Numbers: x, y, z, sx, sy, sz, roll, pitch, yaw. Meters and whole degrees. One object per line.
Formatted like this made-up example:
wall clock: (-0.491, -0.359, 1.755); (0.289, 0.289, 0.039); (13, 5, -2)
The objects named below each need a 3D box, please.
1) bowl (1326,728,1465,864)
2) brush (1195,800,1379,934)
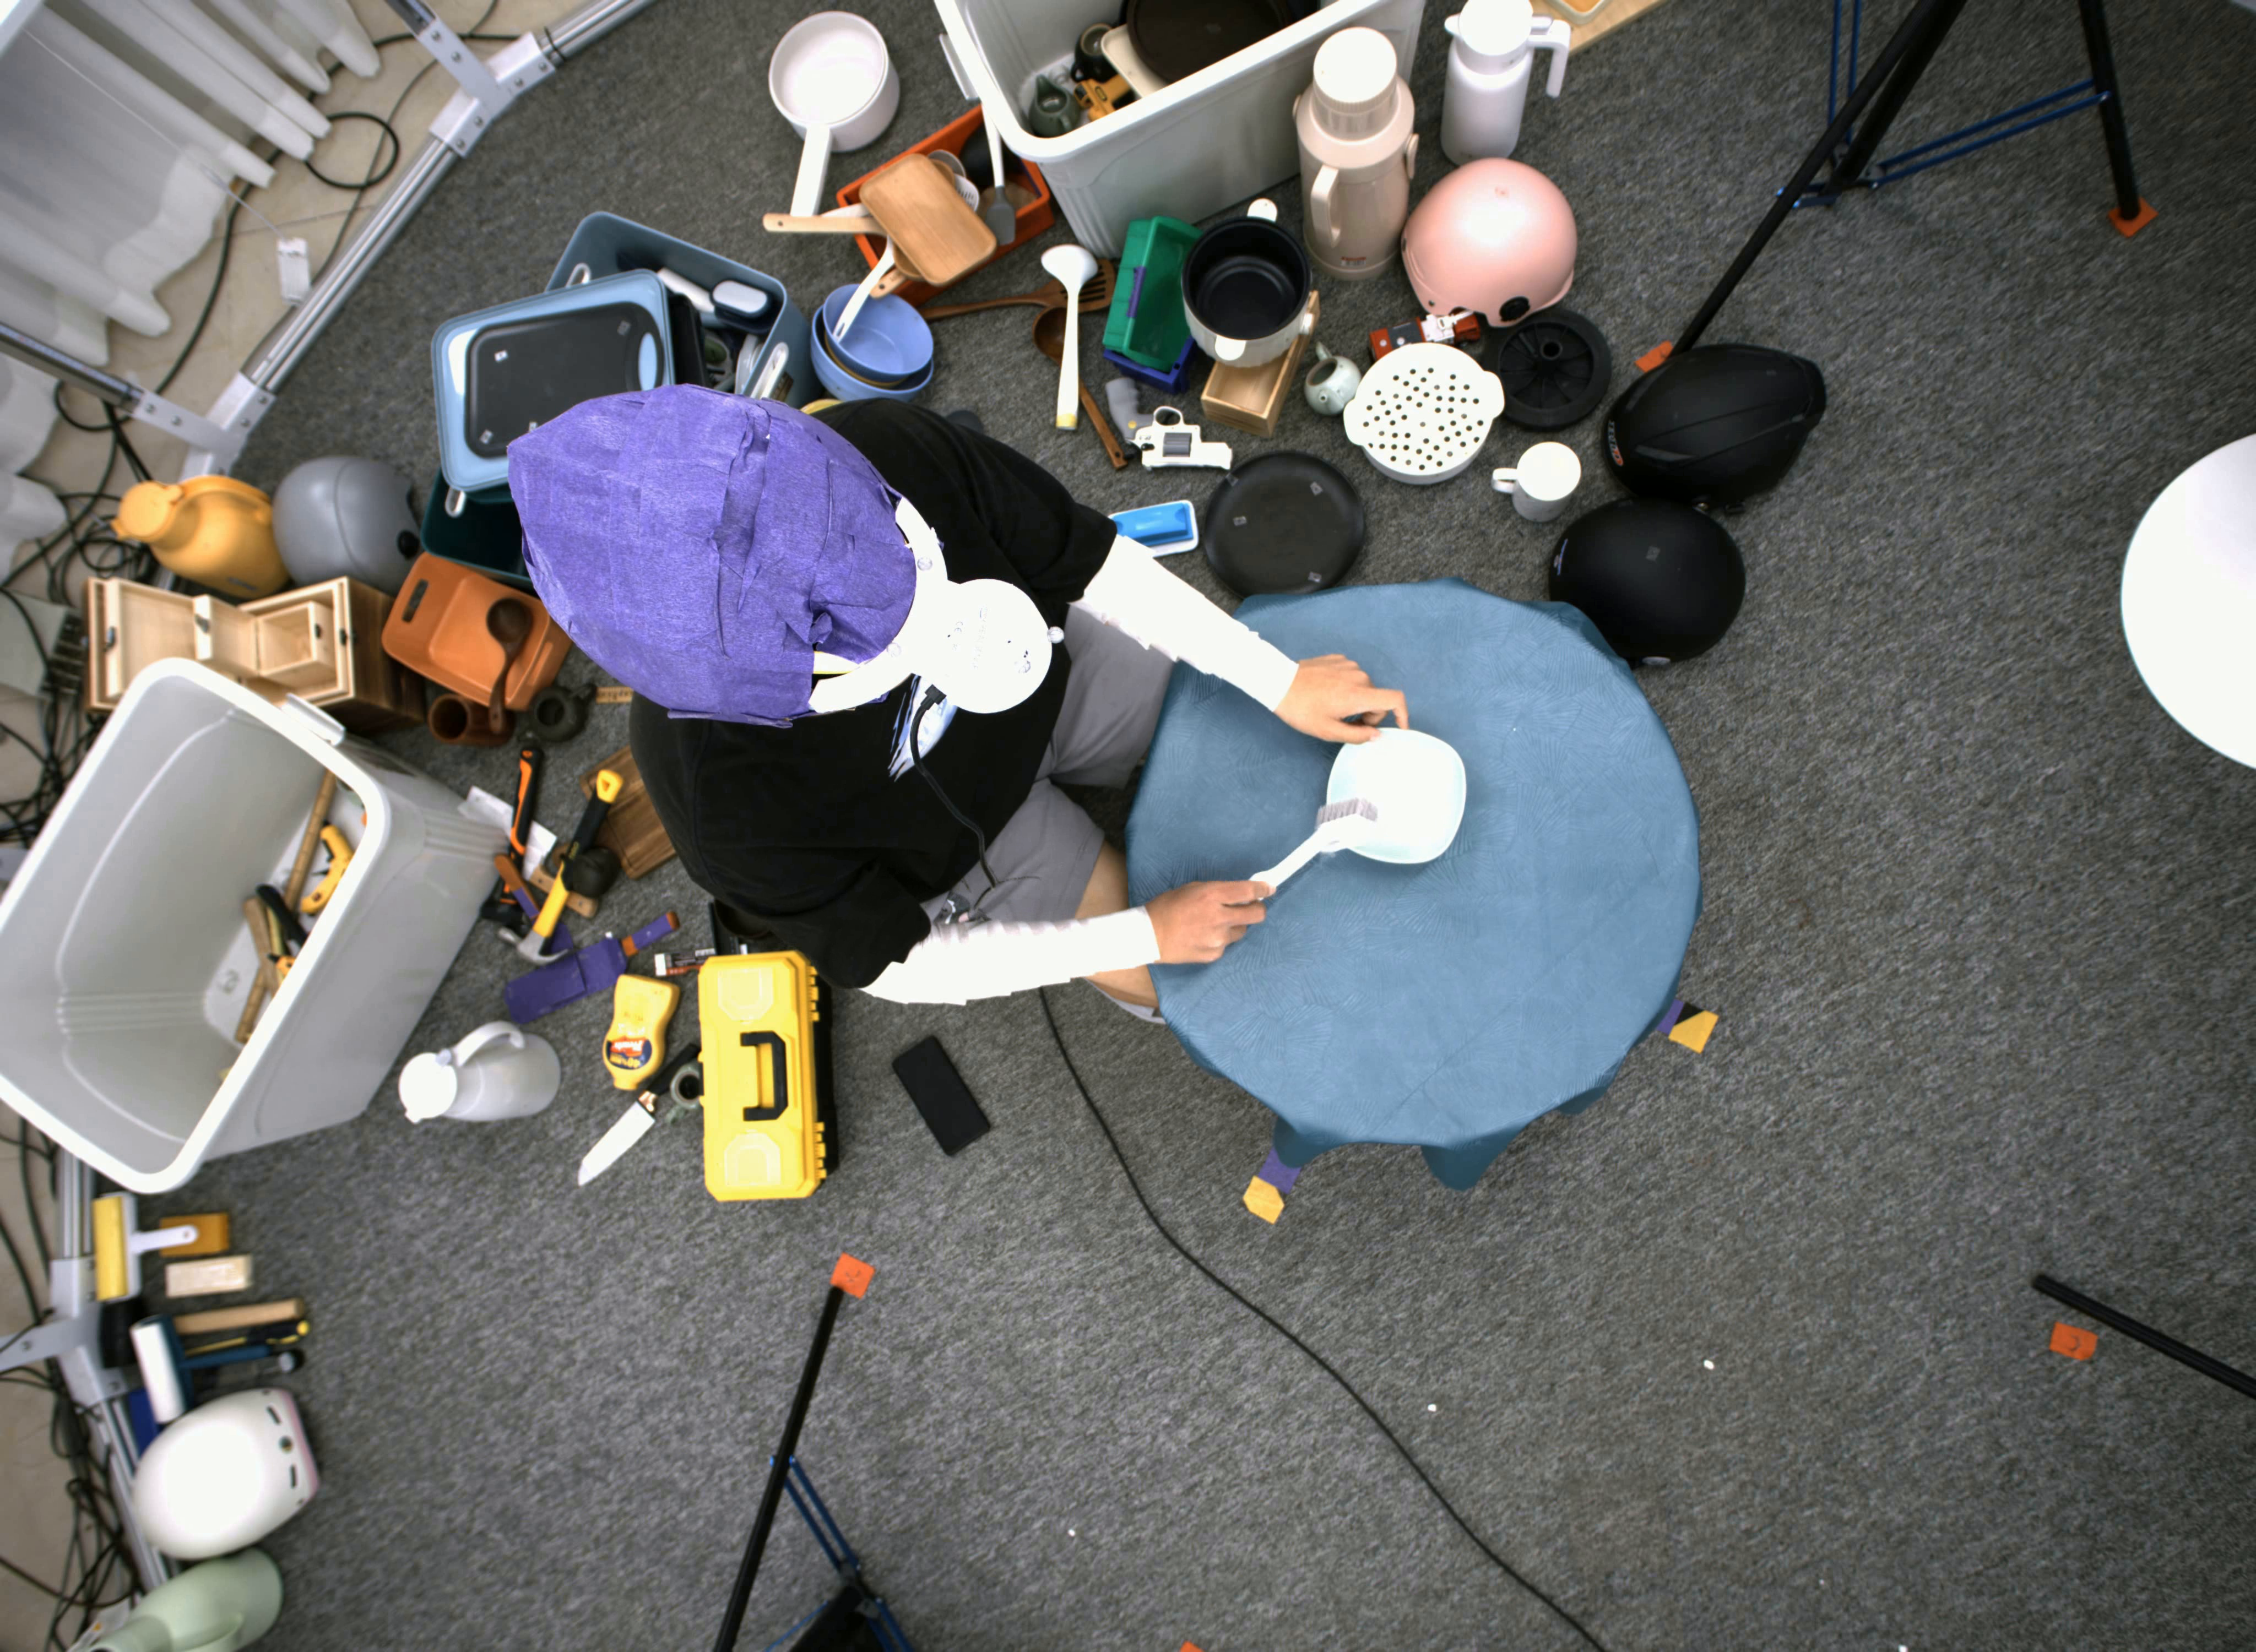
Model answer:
bowl: (0.277, -0.029, 1.434); (0.152, 0.059, 0.150); (-1, 85, 10)
brush: (0.158, 0.040, 1.426); (0.248, 0.034, 0.049); (-35, 43, 37)
